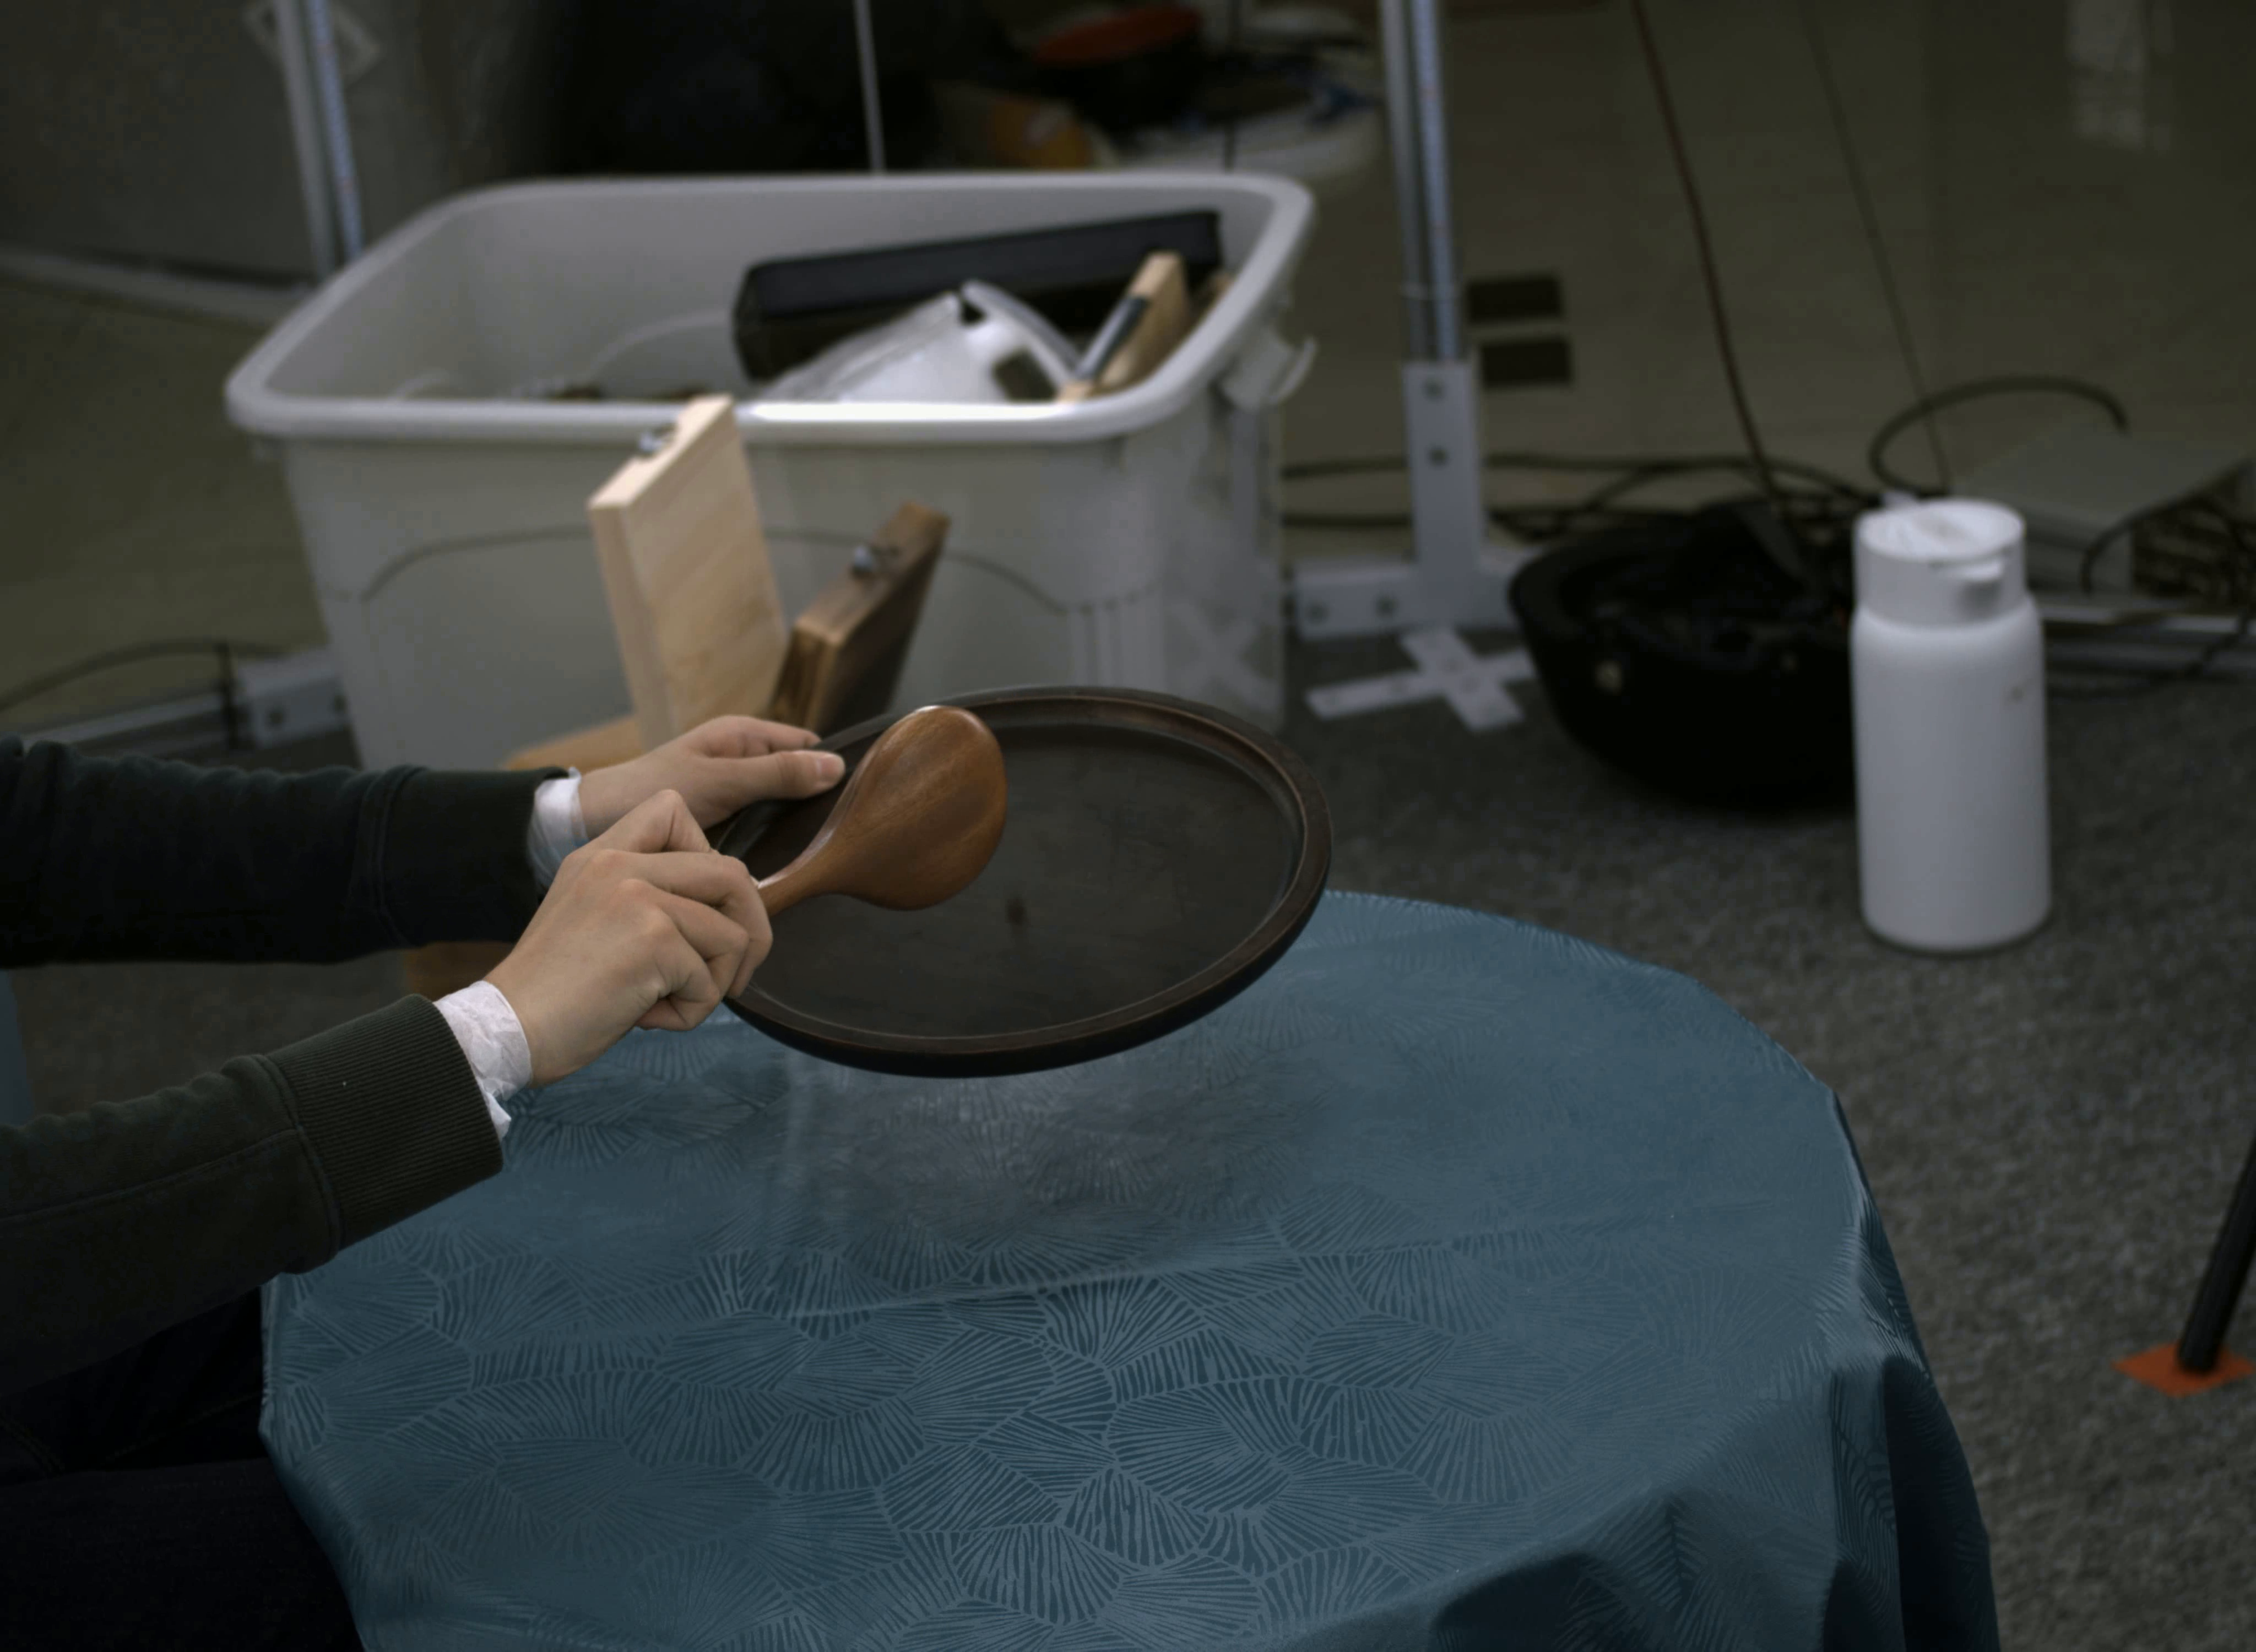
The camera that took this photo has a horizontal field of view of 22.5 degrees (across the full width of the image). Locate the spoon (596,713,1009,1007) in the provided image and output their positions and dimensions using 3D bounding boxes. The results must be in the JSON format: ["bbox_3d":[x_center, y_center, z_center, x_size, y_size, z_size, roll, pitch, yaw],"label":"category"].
[{"bbox_3d":[-0.112,0.019,2.040,0.017,0.076,0.214,12,28,39],"label":"spoon"}]

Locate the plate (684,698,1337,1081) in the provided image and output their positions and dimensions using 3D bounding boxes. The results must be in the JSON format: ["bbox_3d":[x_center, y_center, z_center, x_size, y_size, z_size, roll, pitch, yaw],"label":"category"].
[{"bbox_3d":[-0.045,0.023,2.171,0.254,0.029,0.250,-5,32,3],"label":"plate"}]
